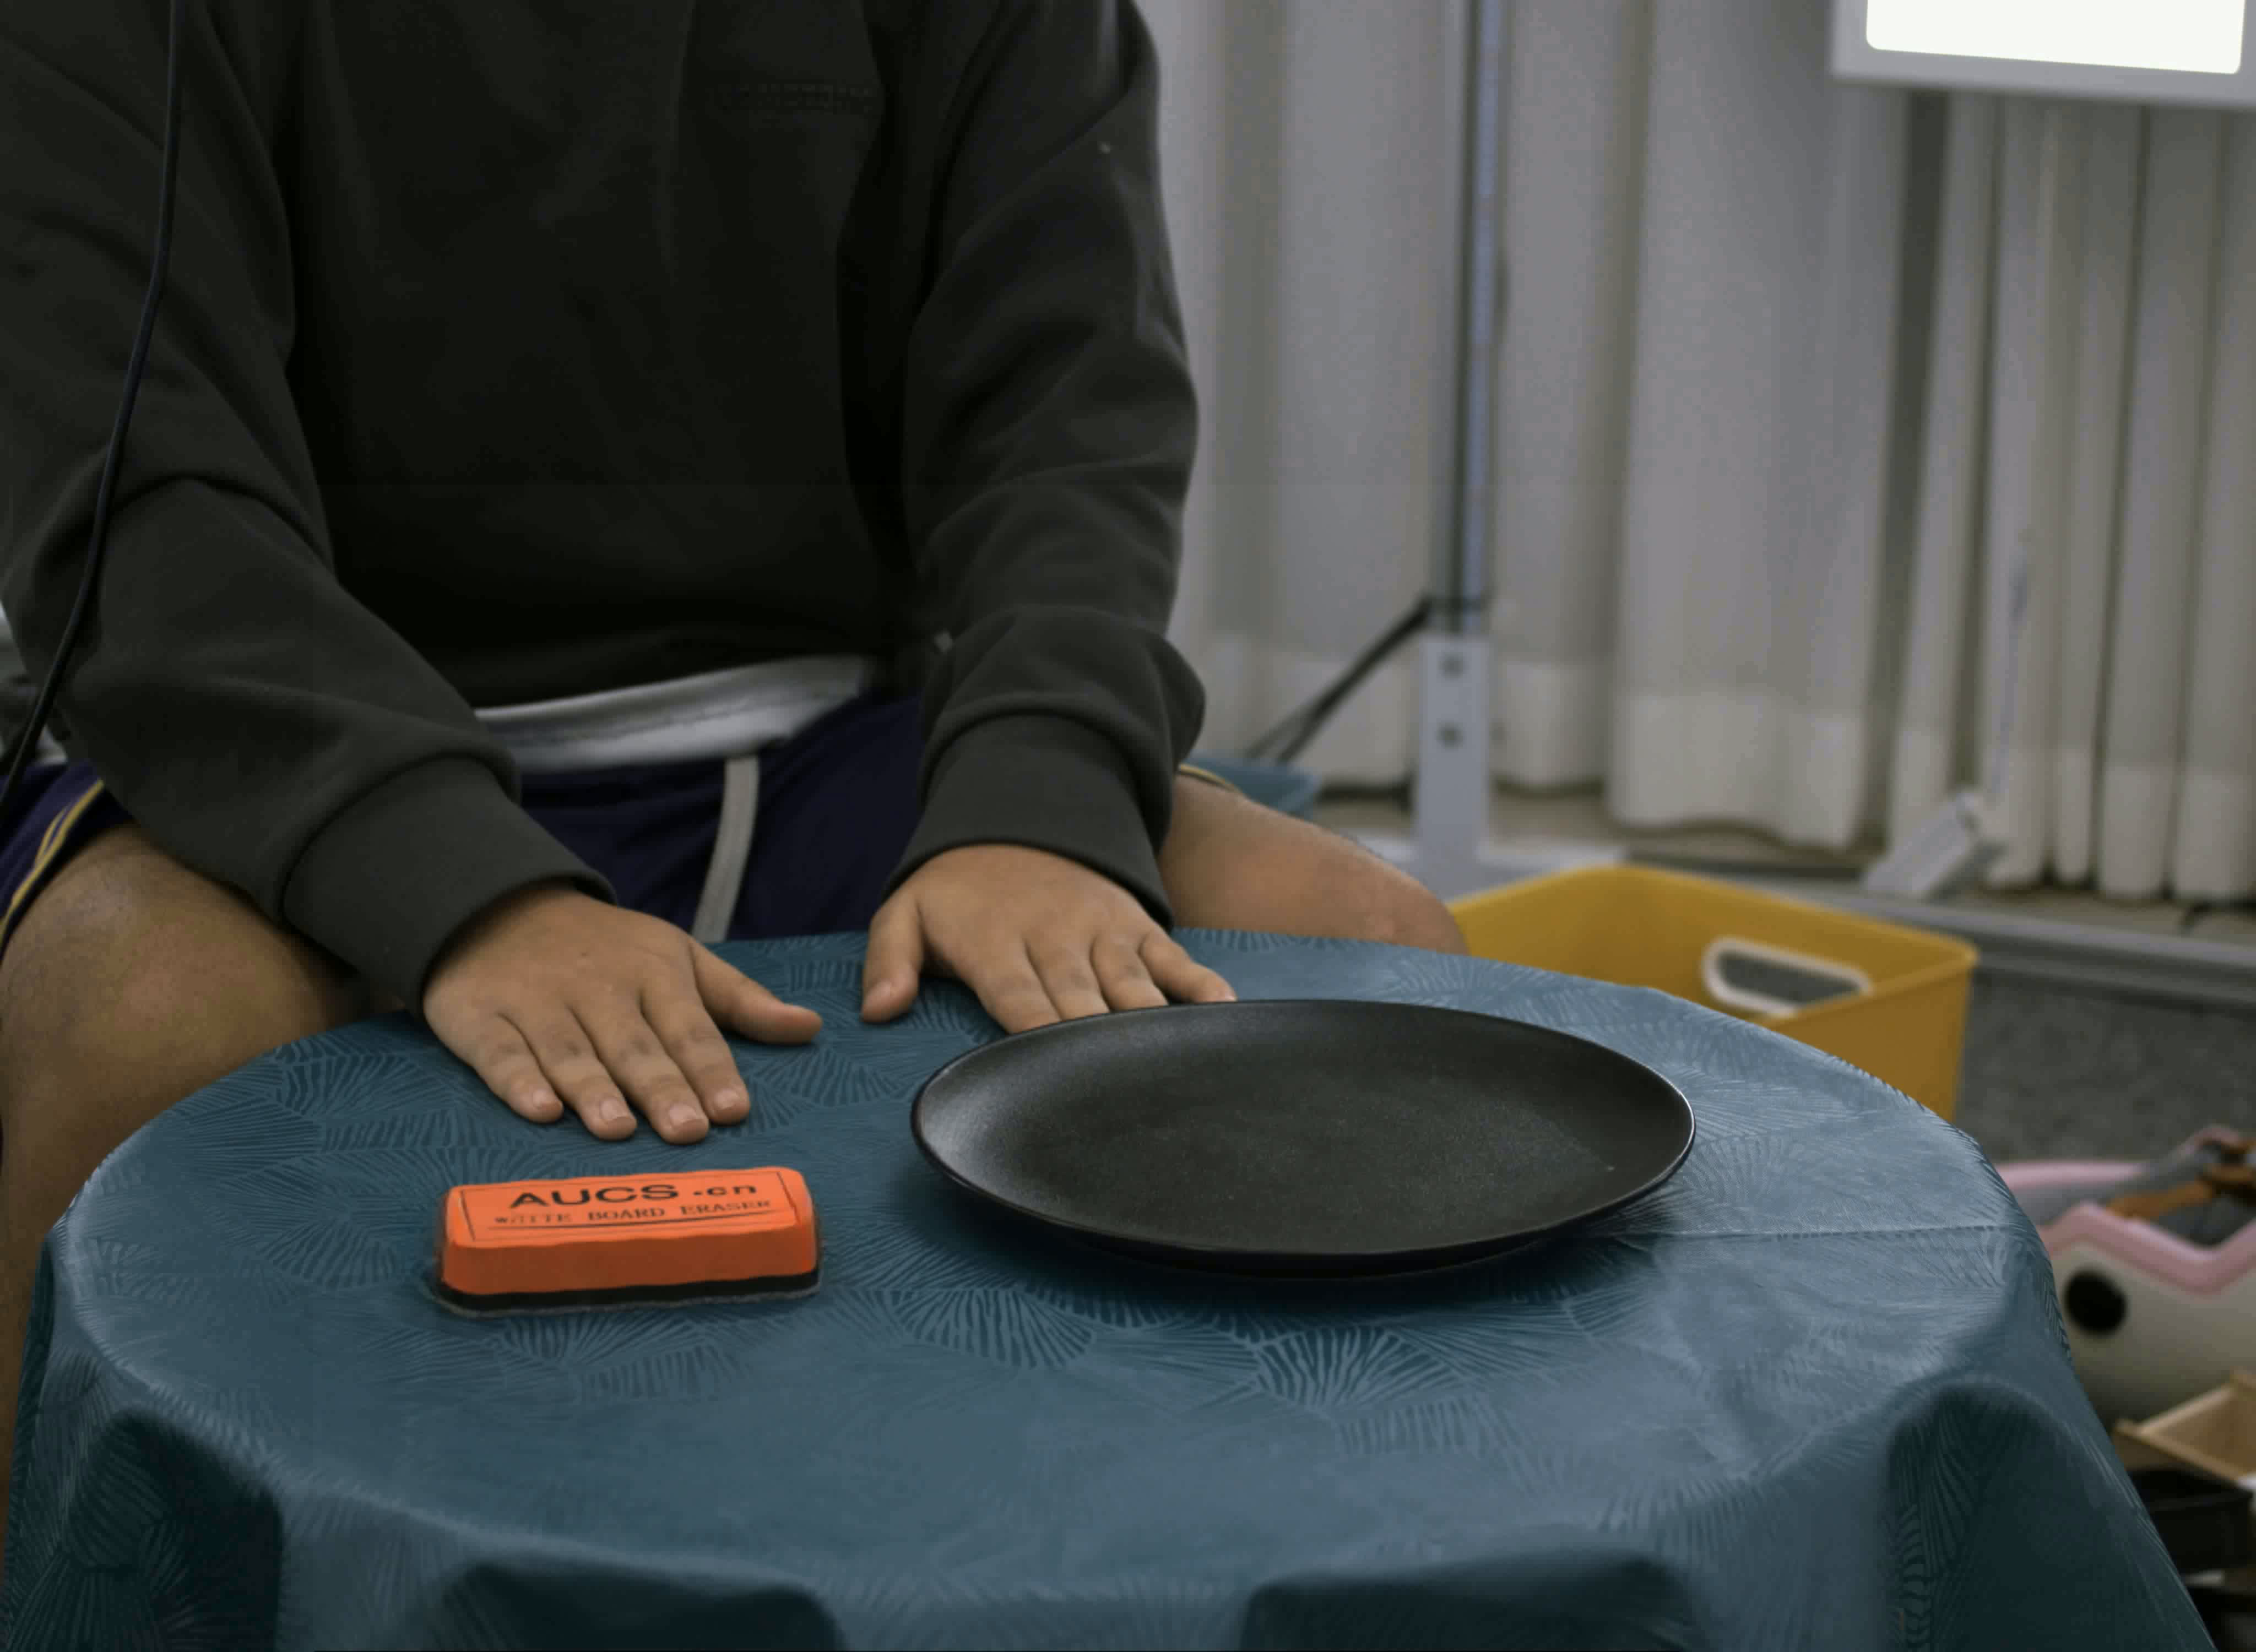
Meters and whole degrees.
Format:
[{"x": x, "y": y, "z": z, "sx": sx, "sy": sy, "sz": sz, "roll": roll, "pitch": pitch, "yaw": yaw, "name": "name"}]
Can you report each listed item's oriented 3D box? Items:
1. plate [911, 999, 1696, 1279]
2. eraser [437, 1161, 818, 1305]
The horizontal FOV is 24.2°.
[{"x": 0.054, "y": 0.099, "z": 1.630, "sx": 0.243, "sy": 0.023, "sz": 0.243, "roll": 1, "pitch": 15, "yaw": 0, "name": "plate"}, {"x": -0.146, "y": 0.118, "z": 1.540, "sx": 0.108, "sy": 0.023, "sz": 0.058, "roll": -1, "pitch": 16, "yaw": -13, "name": "eraser"}]
